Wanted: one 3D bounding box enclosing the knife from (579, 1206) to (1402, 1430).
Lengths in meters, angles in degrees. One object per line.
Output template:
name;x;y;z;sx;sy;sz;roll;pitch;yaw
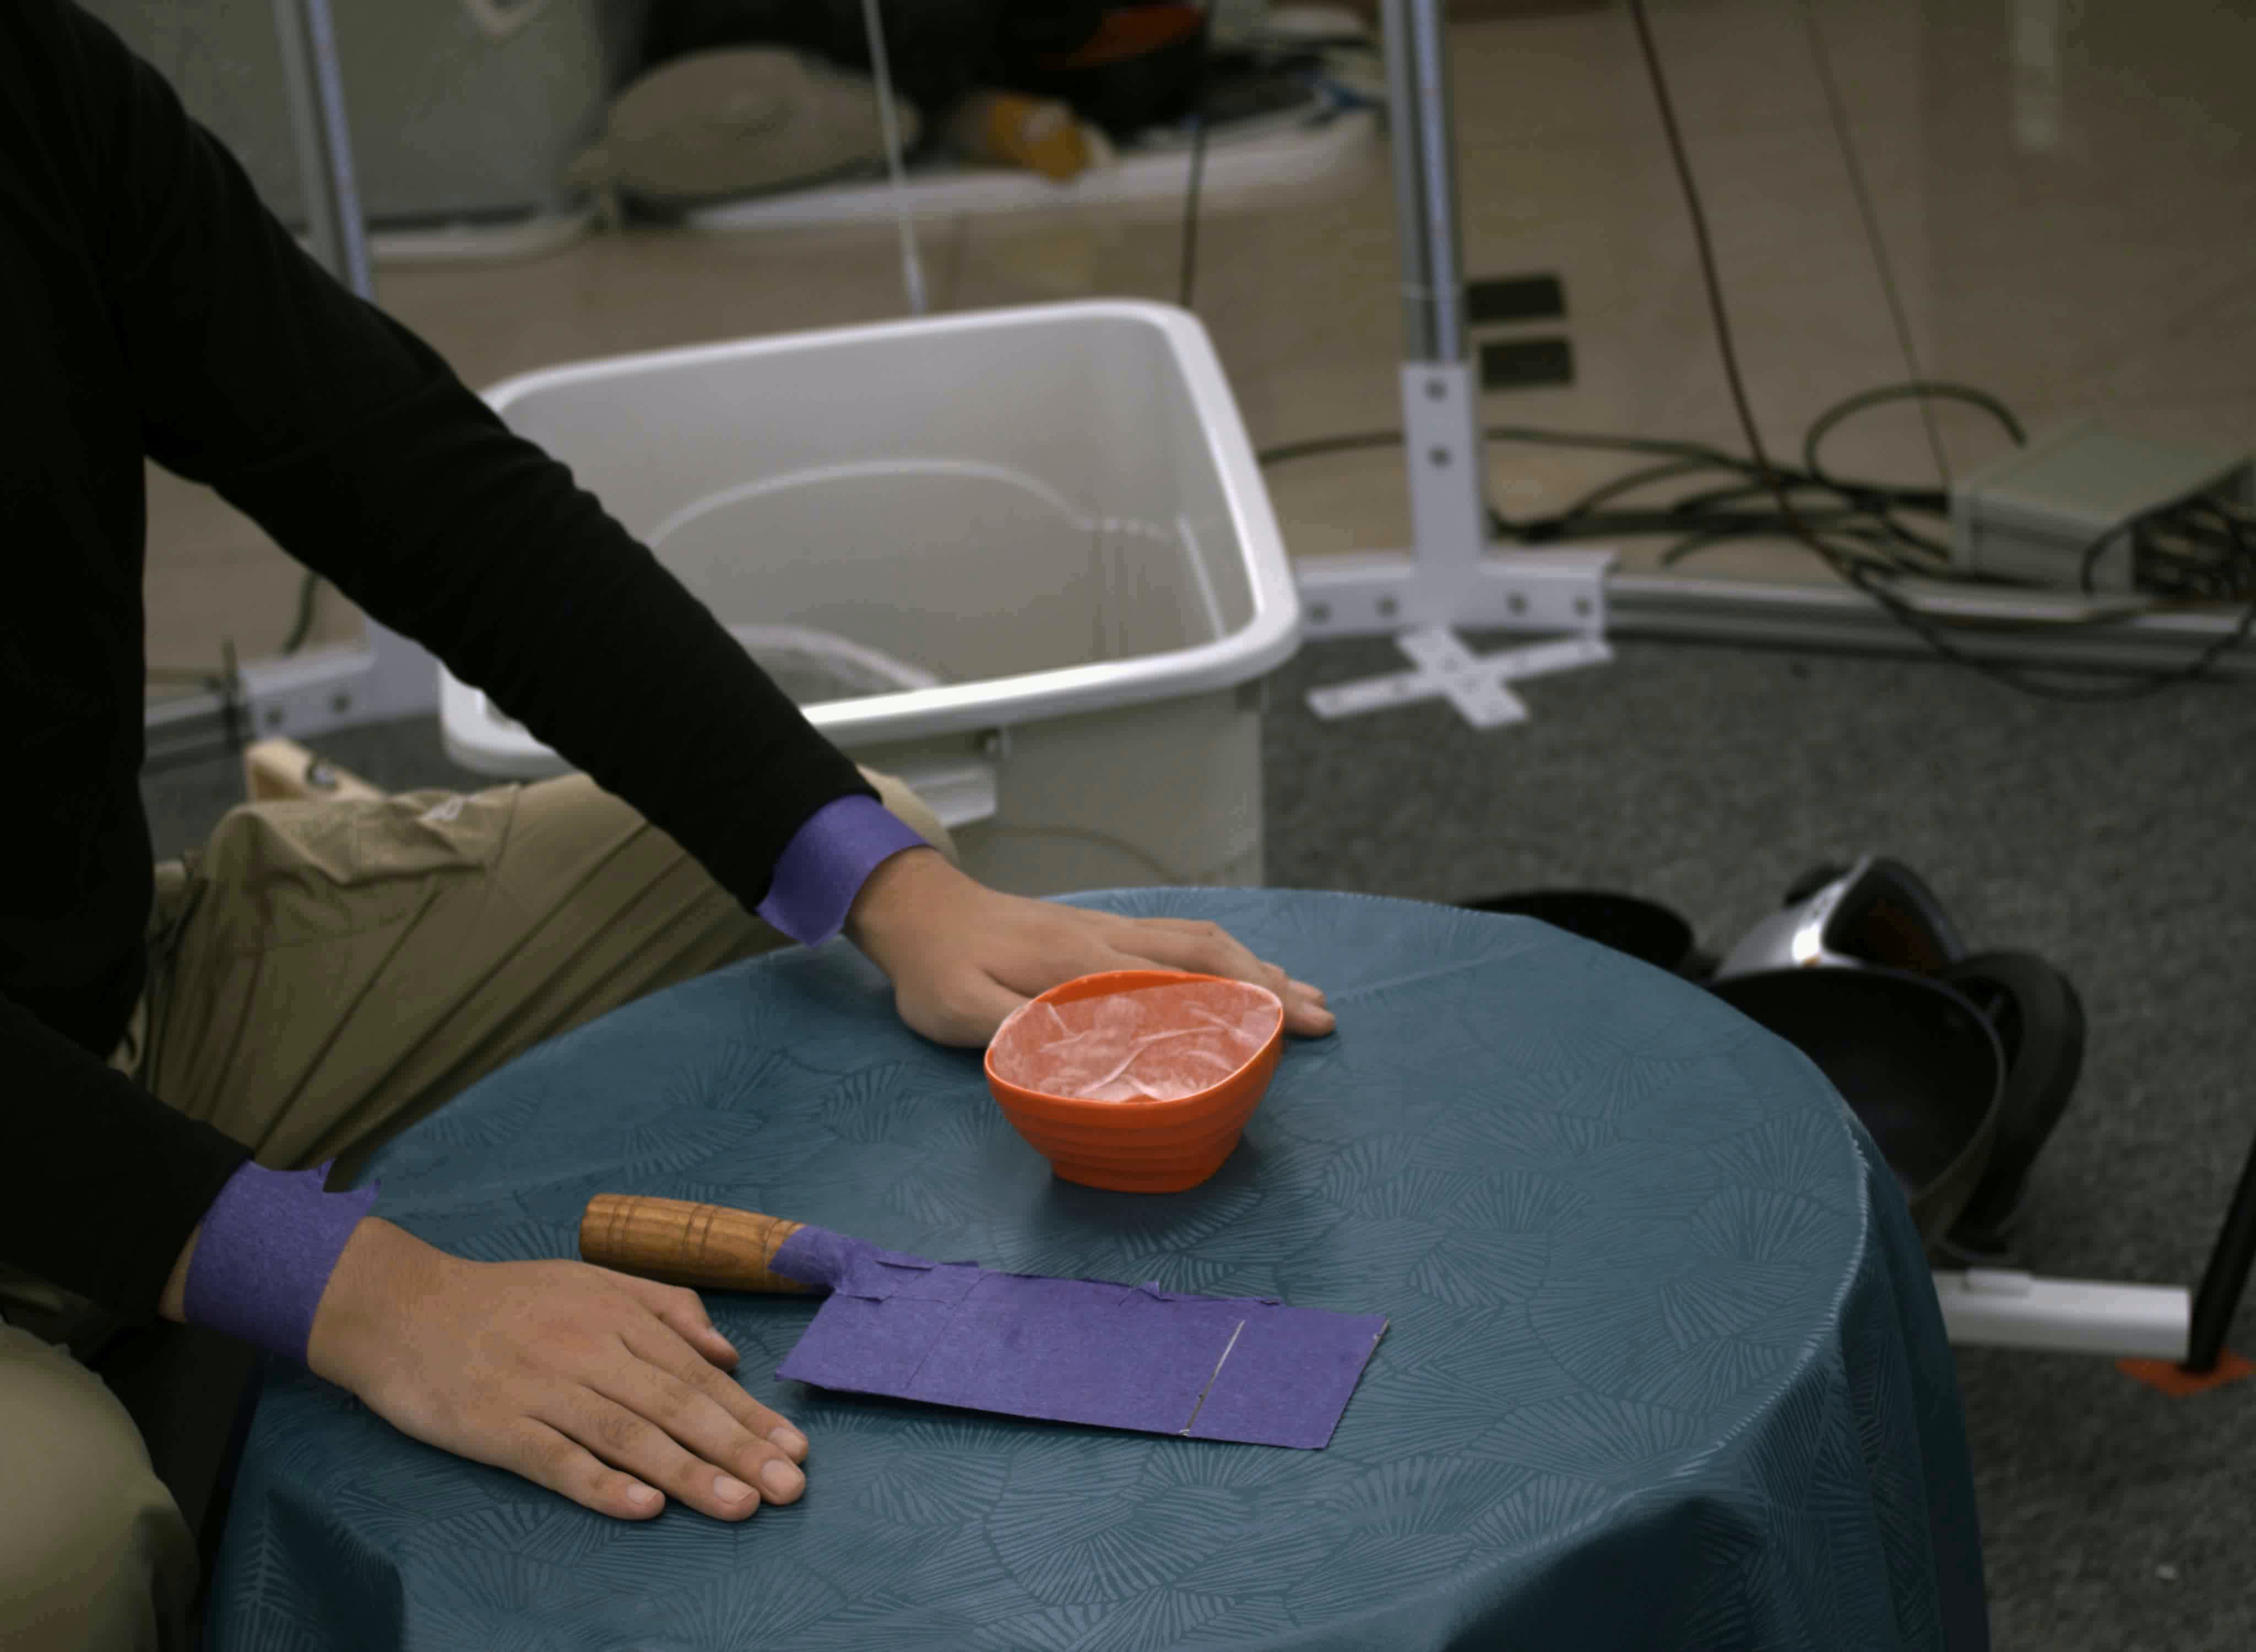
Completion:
knife;-0.063;0.177;2.051;0.314;0.033;0.102;3;26;19

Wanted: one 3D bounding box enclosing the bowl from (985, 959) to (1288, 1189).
bowl;0.005;0.099;2.167;0.119;0.052;0.117;-3;28;2
